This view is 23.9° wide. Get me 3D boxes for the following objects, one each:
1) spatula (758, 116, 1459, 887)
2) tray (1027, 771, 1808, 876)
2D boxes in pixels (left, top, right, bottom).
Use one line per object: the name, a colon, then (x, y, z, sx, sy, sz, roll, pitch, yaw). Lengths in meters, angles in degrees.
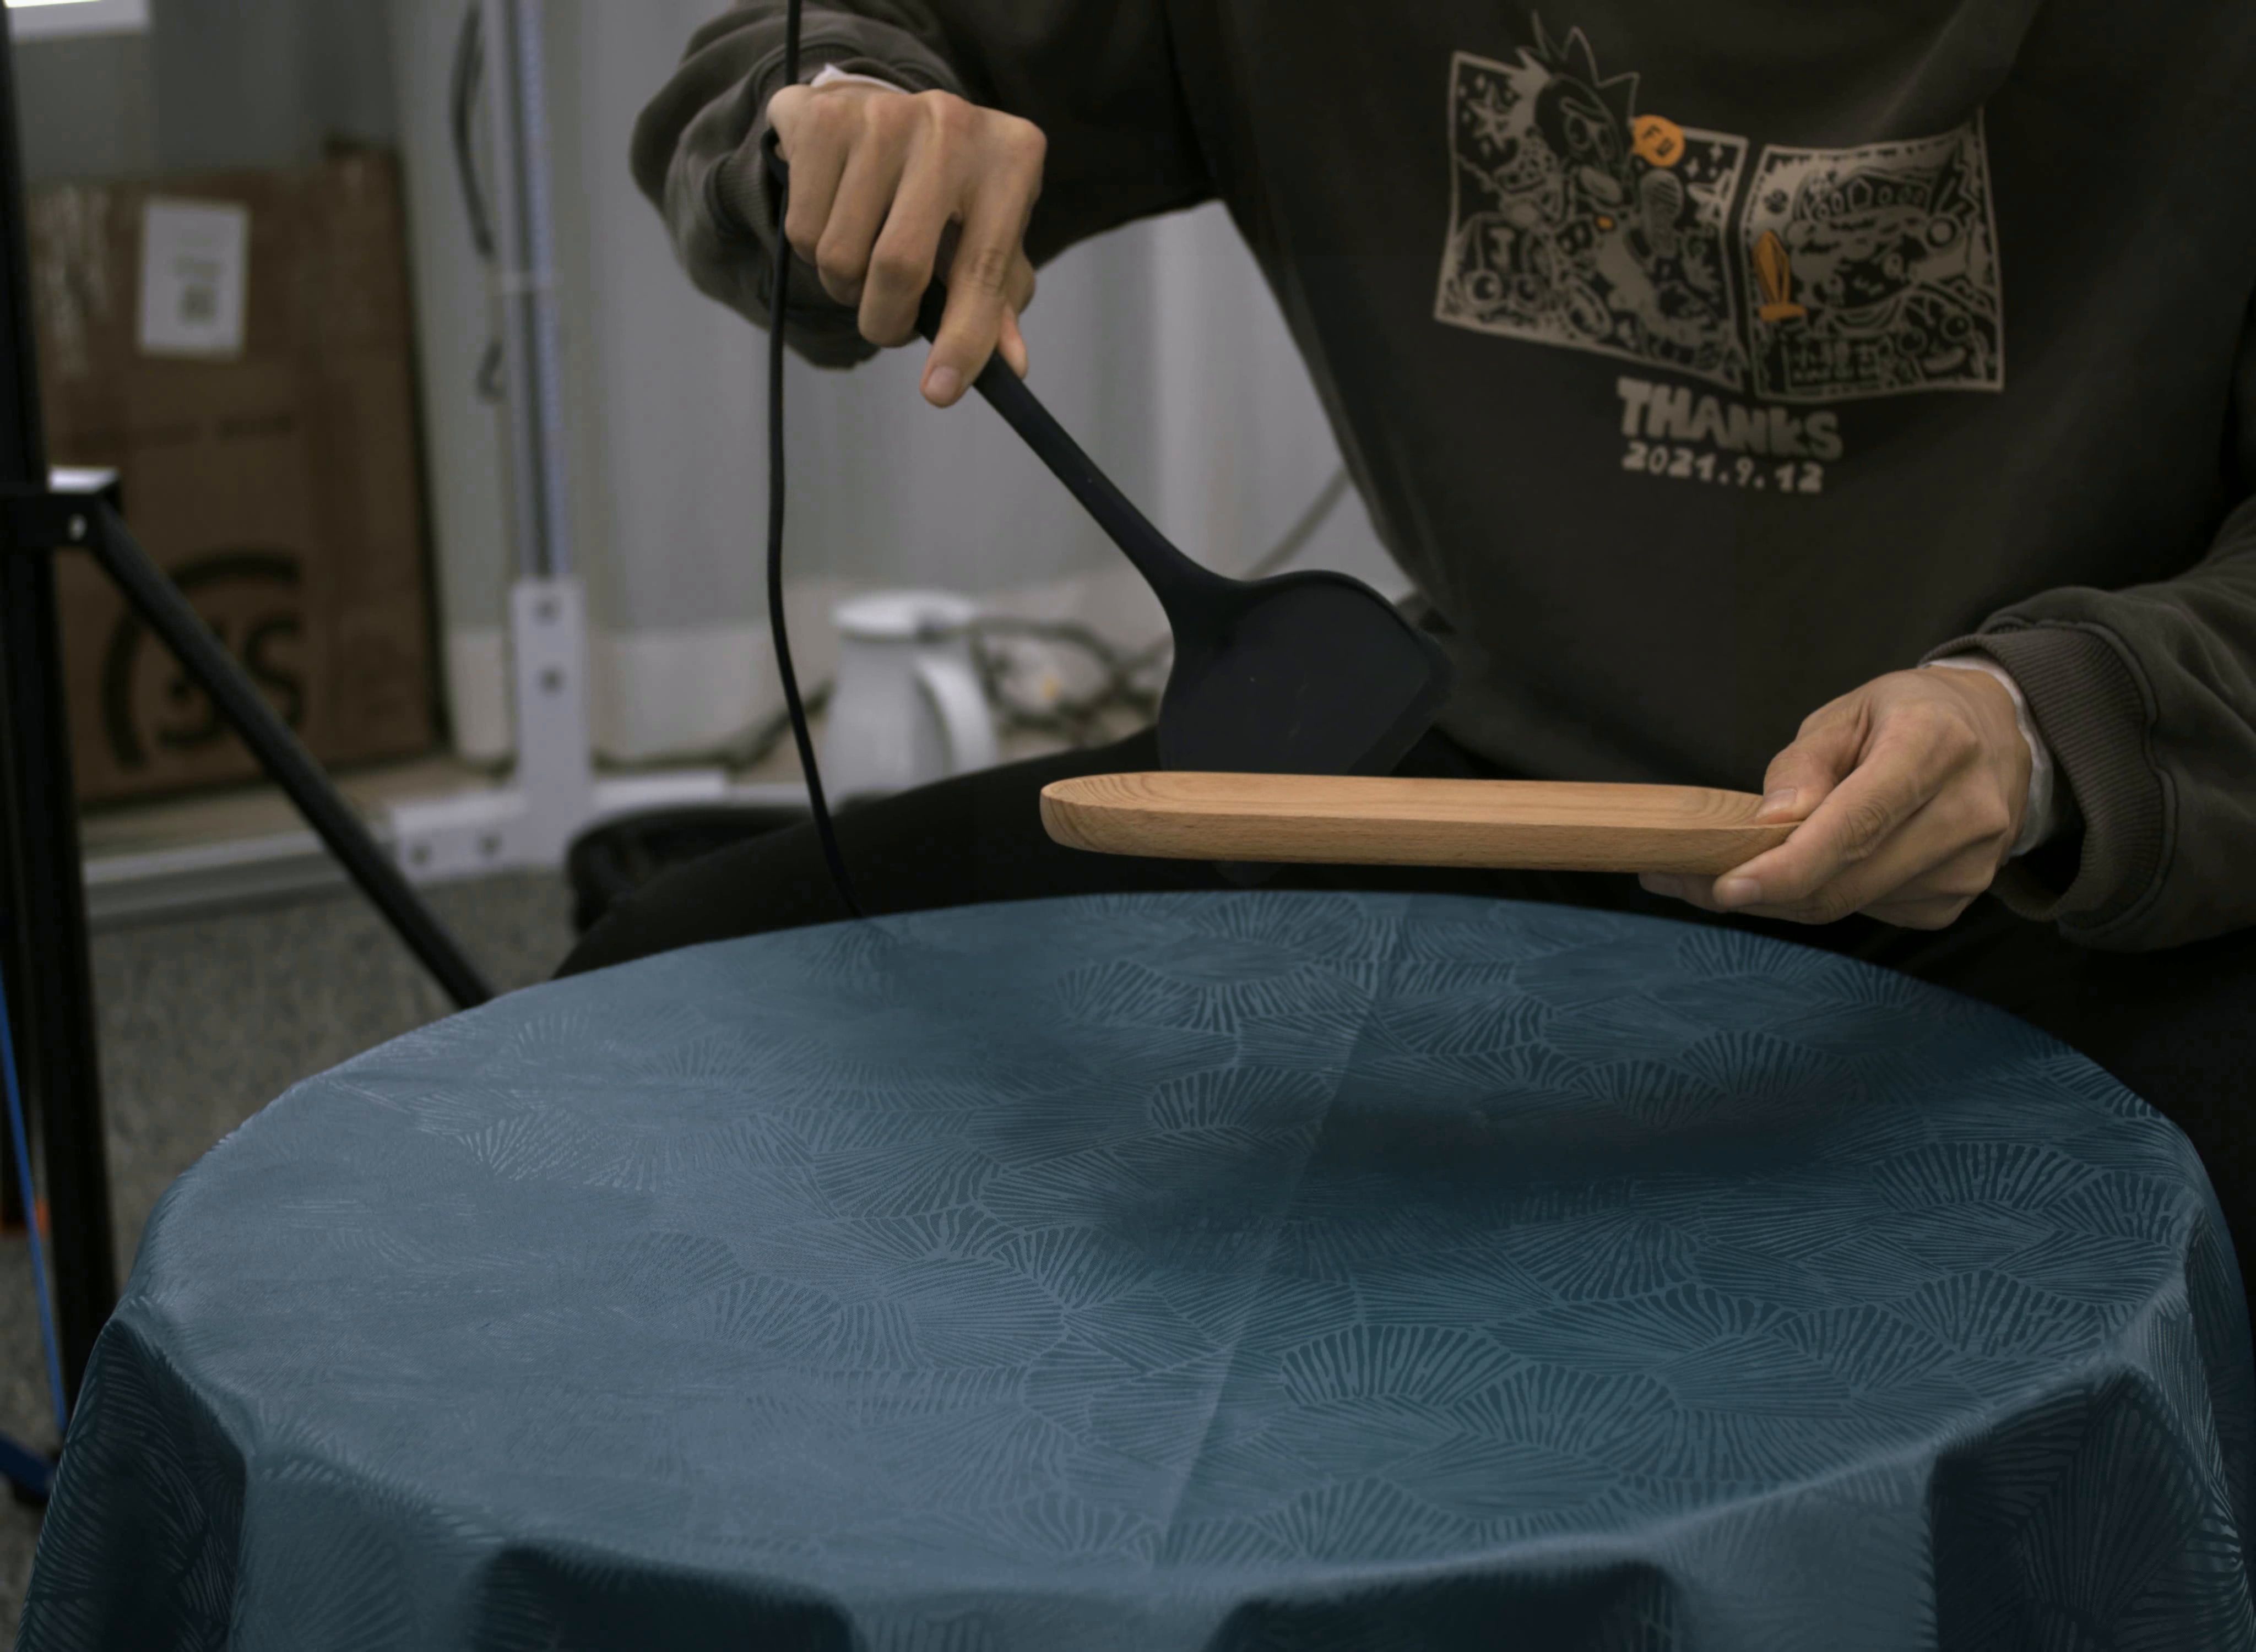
spatula: (-0.023, -0.120, 1.699, 0.331, 0.100, 0.039, 49, 7, 22)
tray: (0.085, 0.000, 1.569, 0.230, 0.020, 0.101, 1, 7, 3)
